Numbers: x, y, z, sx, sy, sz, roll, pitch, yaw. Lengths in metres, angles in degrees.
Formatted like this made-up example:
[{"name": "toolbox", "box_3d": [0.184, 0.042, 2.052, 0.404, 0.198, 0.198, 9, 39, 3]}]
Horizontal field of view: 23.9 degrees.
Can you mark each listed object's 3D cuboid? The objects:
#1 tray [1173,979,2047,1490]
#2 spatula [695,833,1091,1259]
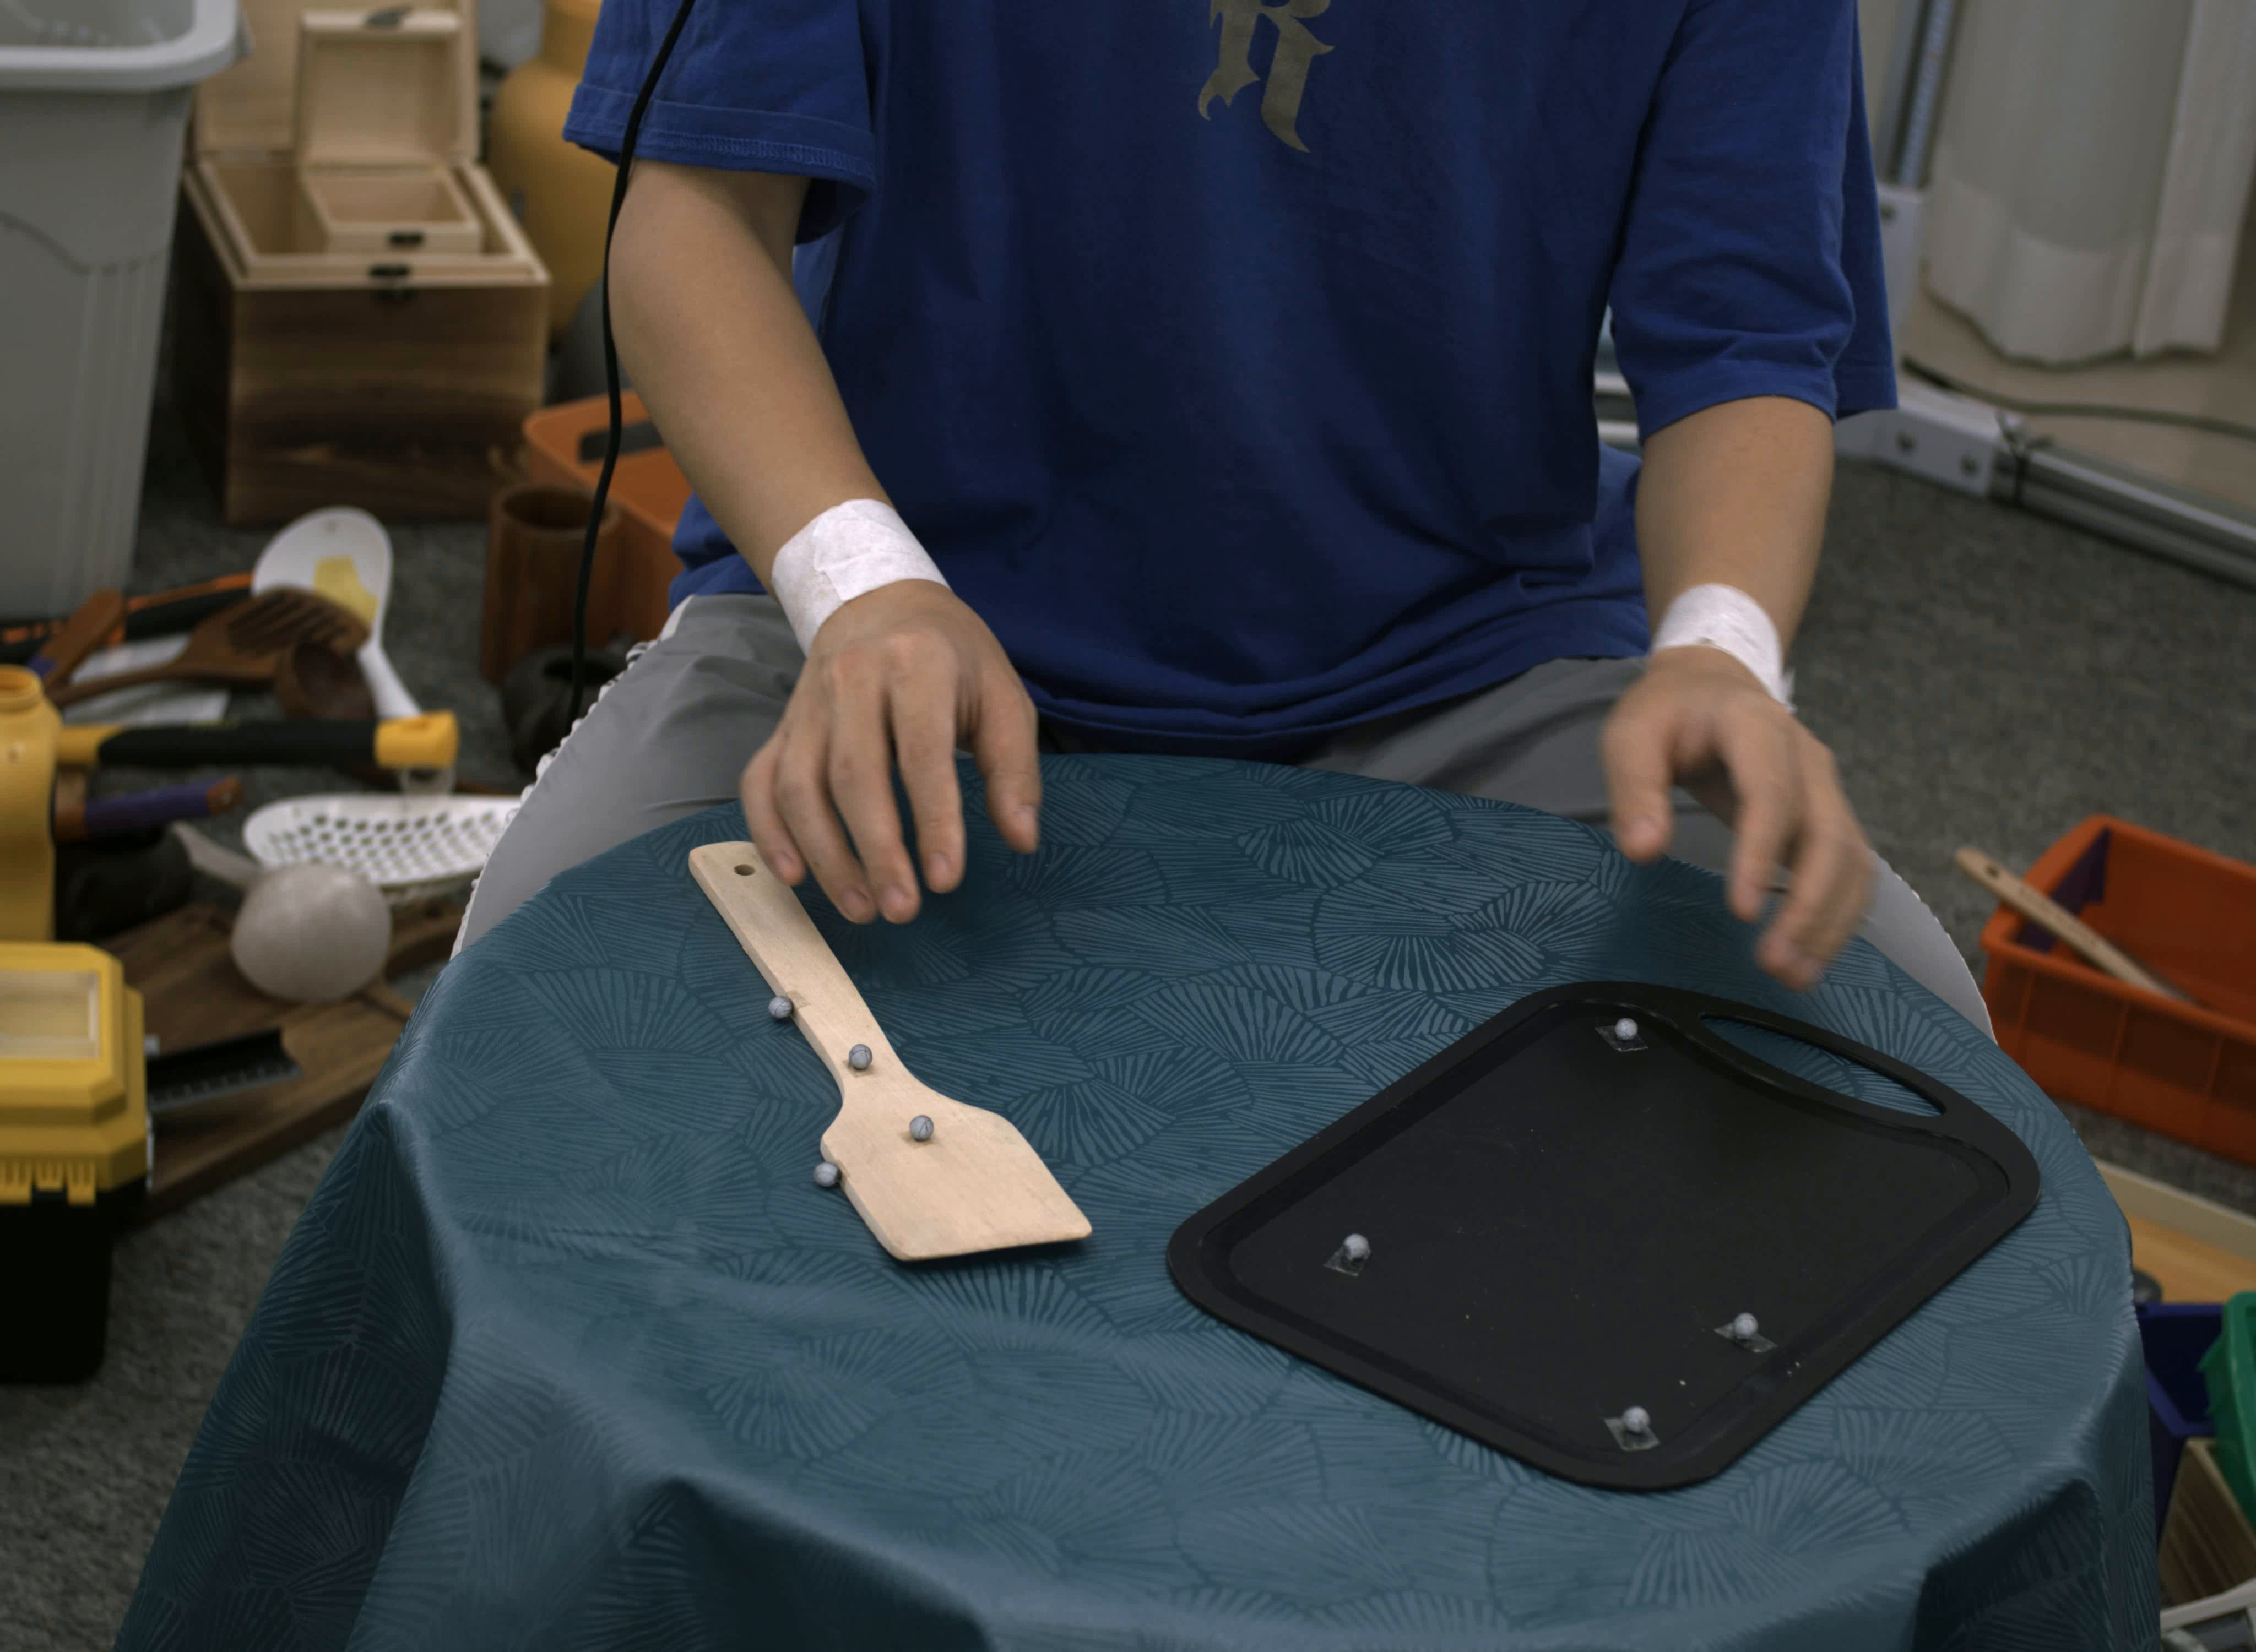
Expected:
[{"name": "tray", "box_3d": [0.173, 0.129, 1.825, 0.212, 0.010, 0.324, 23, 31, 29]}, {"name": "spatula", "box_3d": [-0.098, 0.073, 1.870, 0.072, 0.010, 0.296, -7, 30, -21]}]
